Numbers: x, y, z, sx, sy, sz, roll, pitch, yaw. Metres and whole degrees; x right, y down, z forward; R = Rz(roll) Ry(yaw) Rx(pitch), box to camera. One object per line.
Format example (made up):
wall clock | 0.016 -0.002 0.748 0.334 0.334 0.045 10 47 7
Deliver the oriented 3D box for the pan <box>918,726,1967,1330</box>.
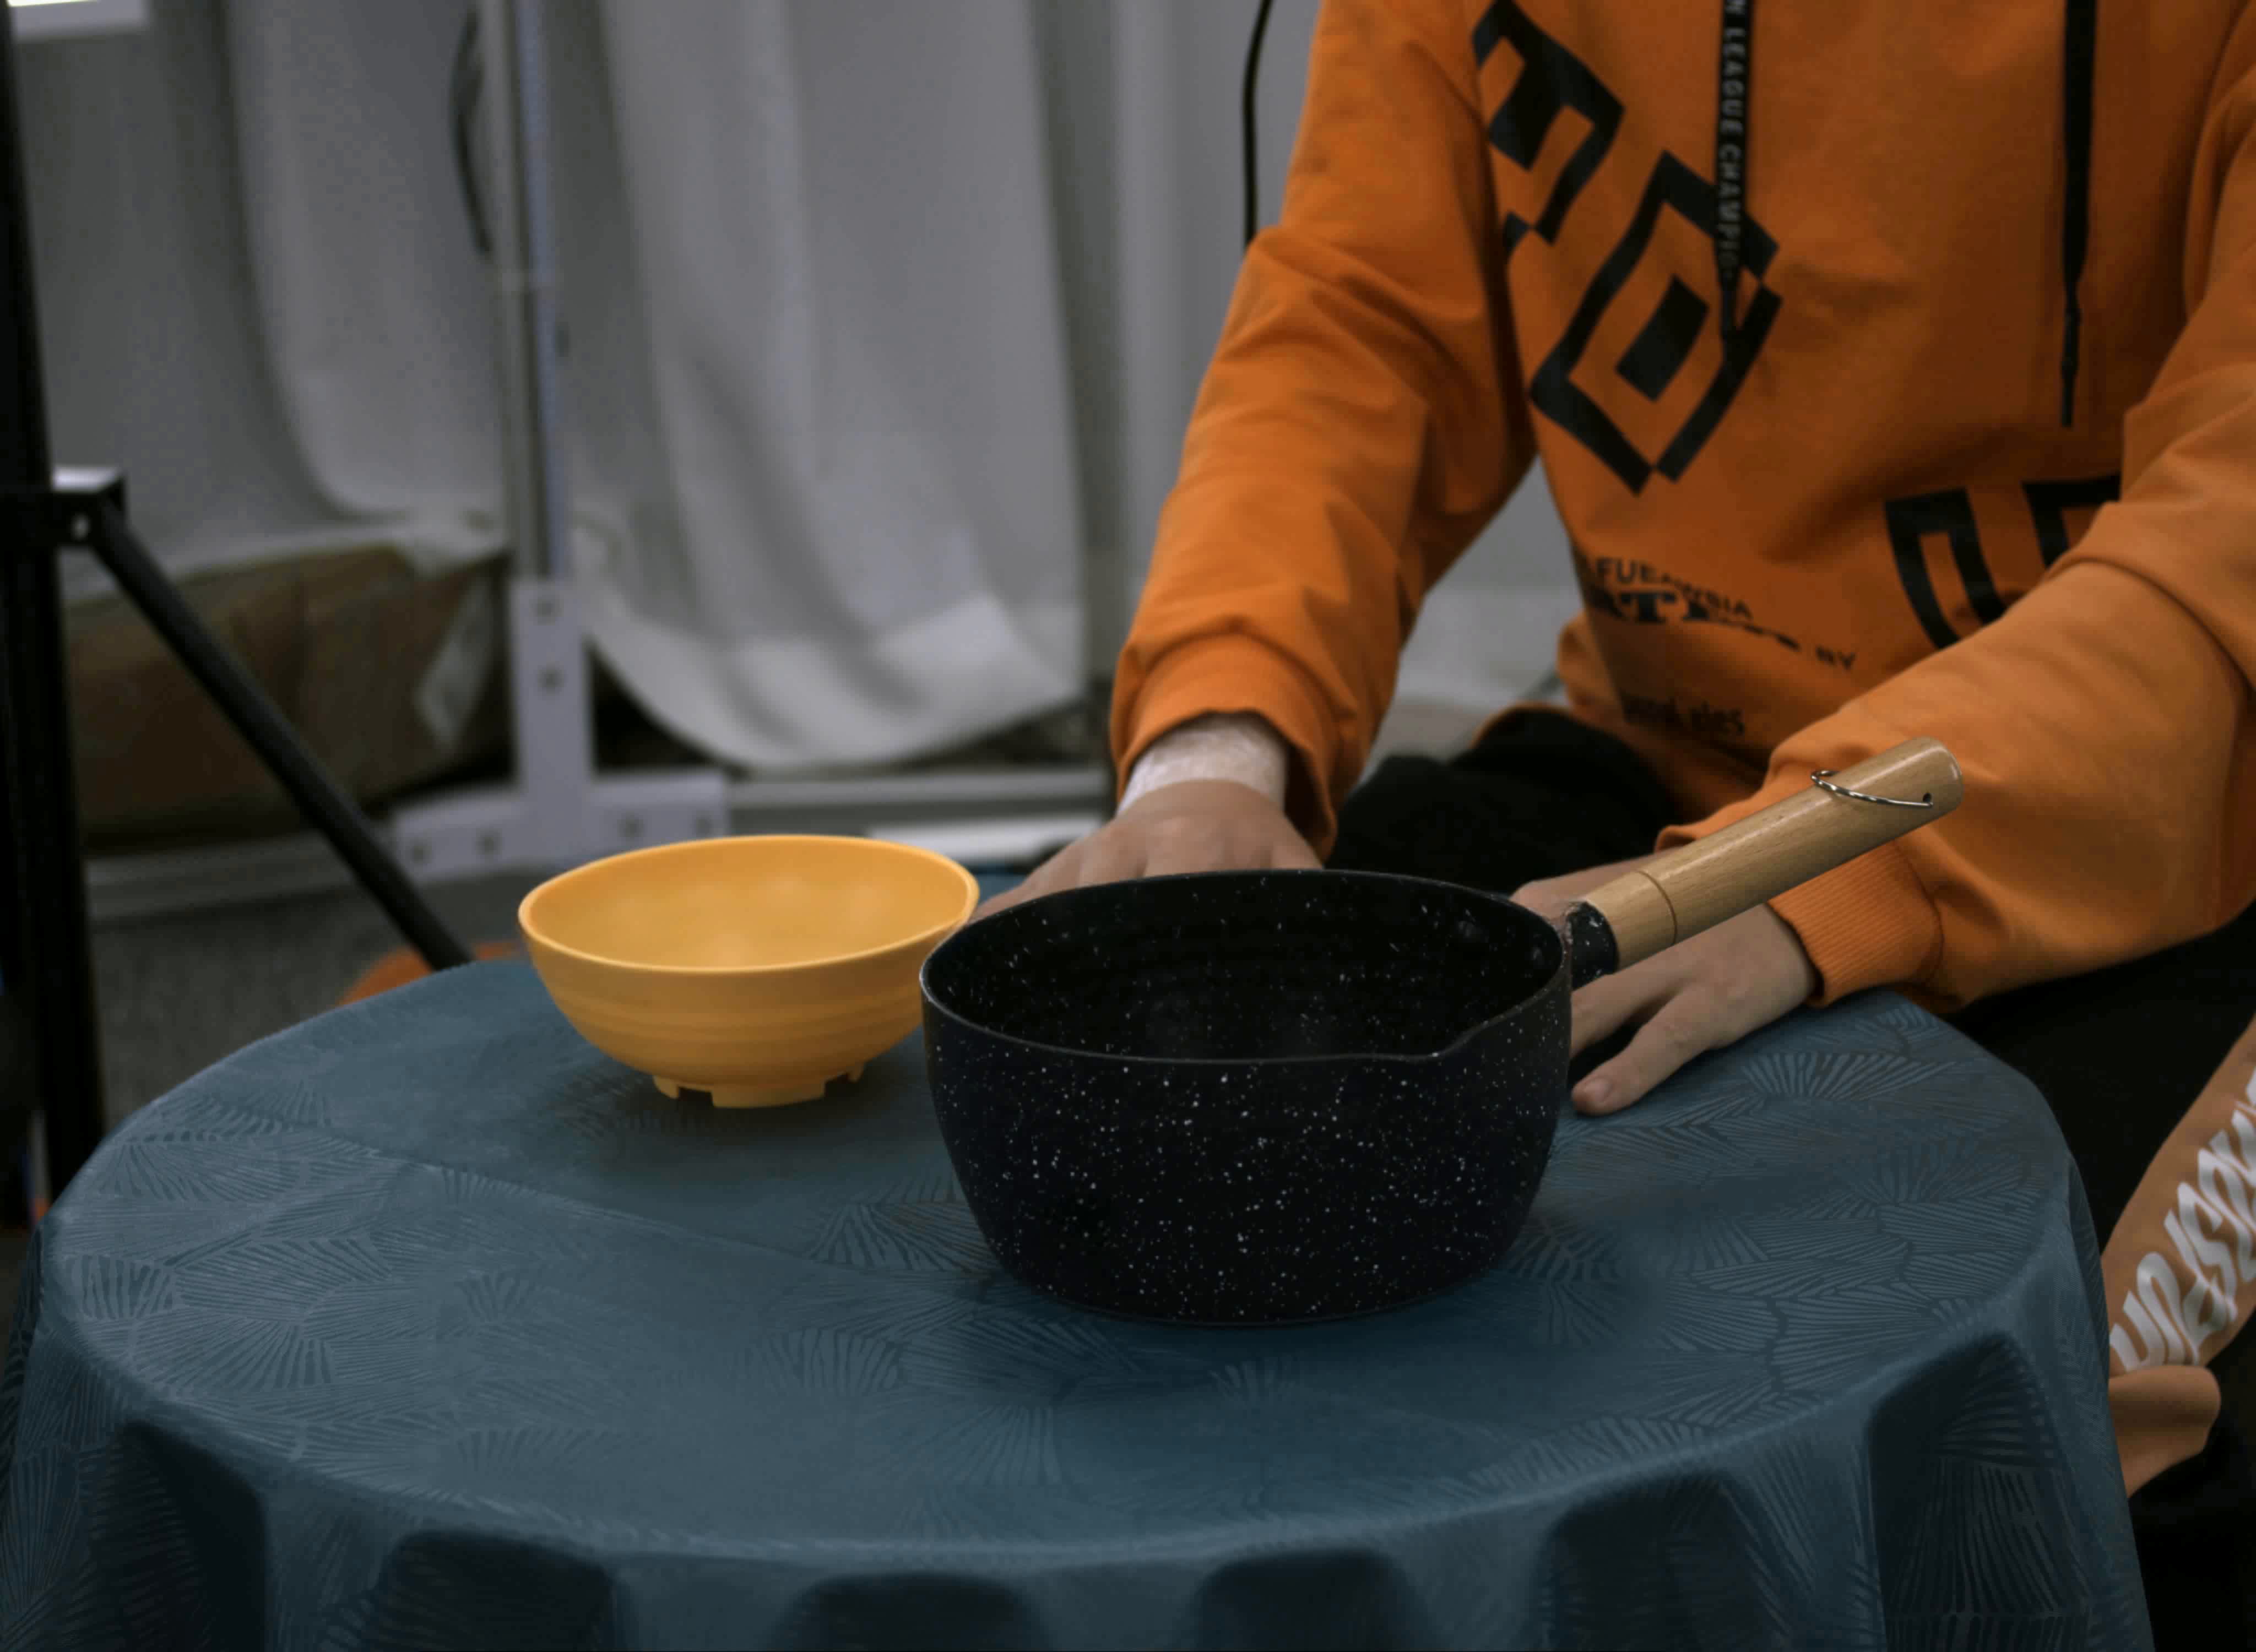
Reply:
pan | 0.102 0.053 1.536 0.335 0.108 0.212 -13 17 -27

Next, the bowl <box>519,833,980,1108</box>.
bowl | -0.118 0.050 1.675 0.144 0.060 0.146 -2 16 -1
